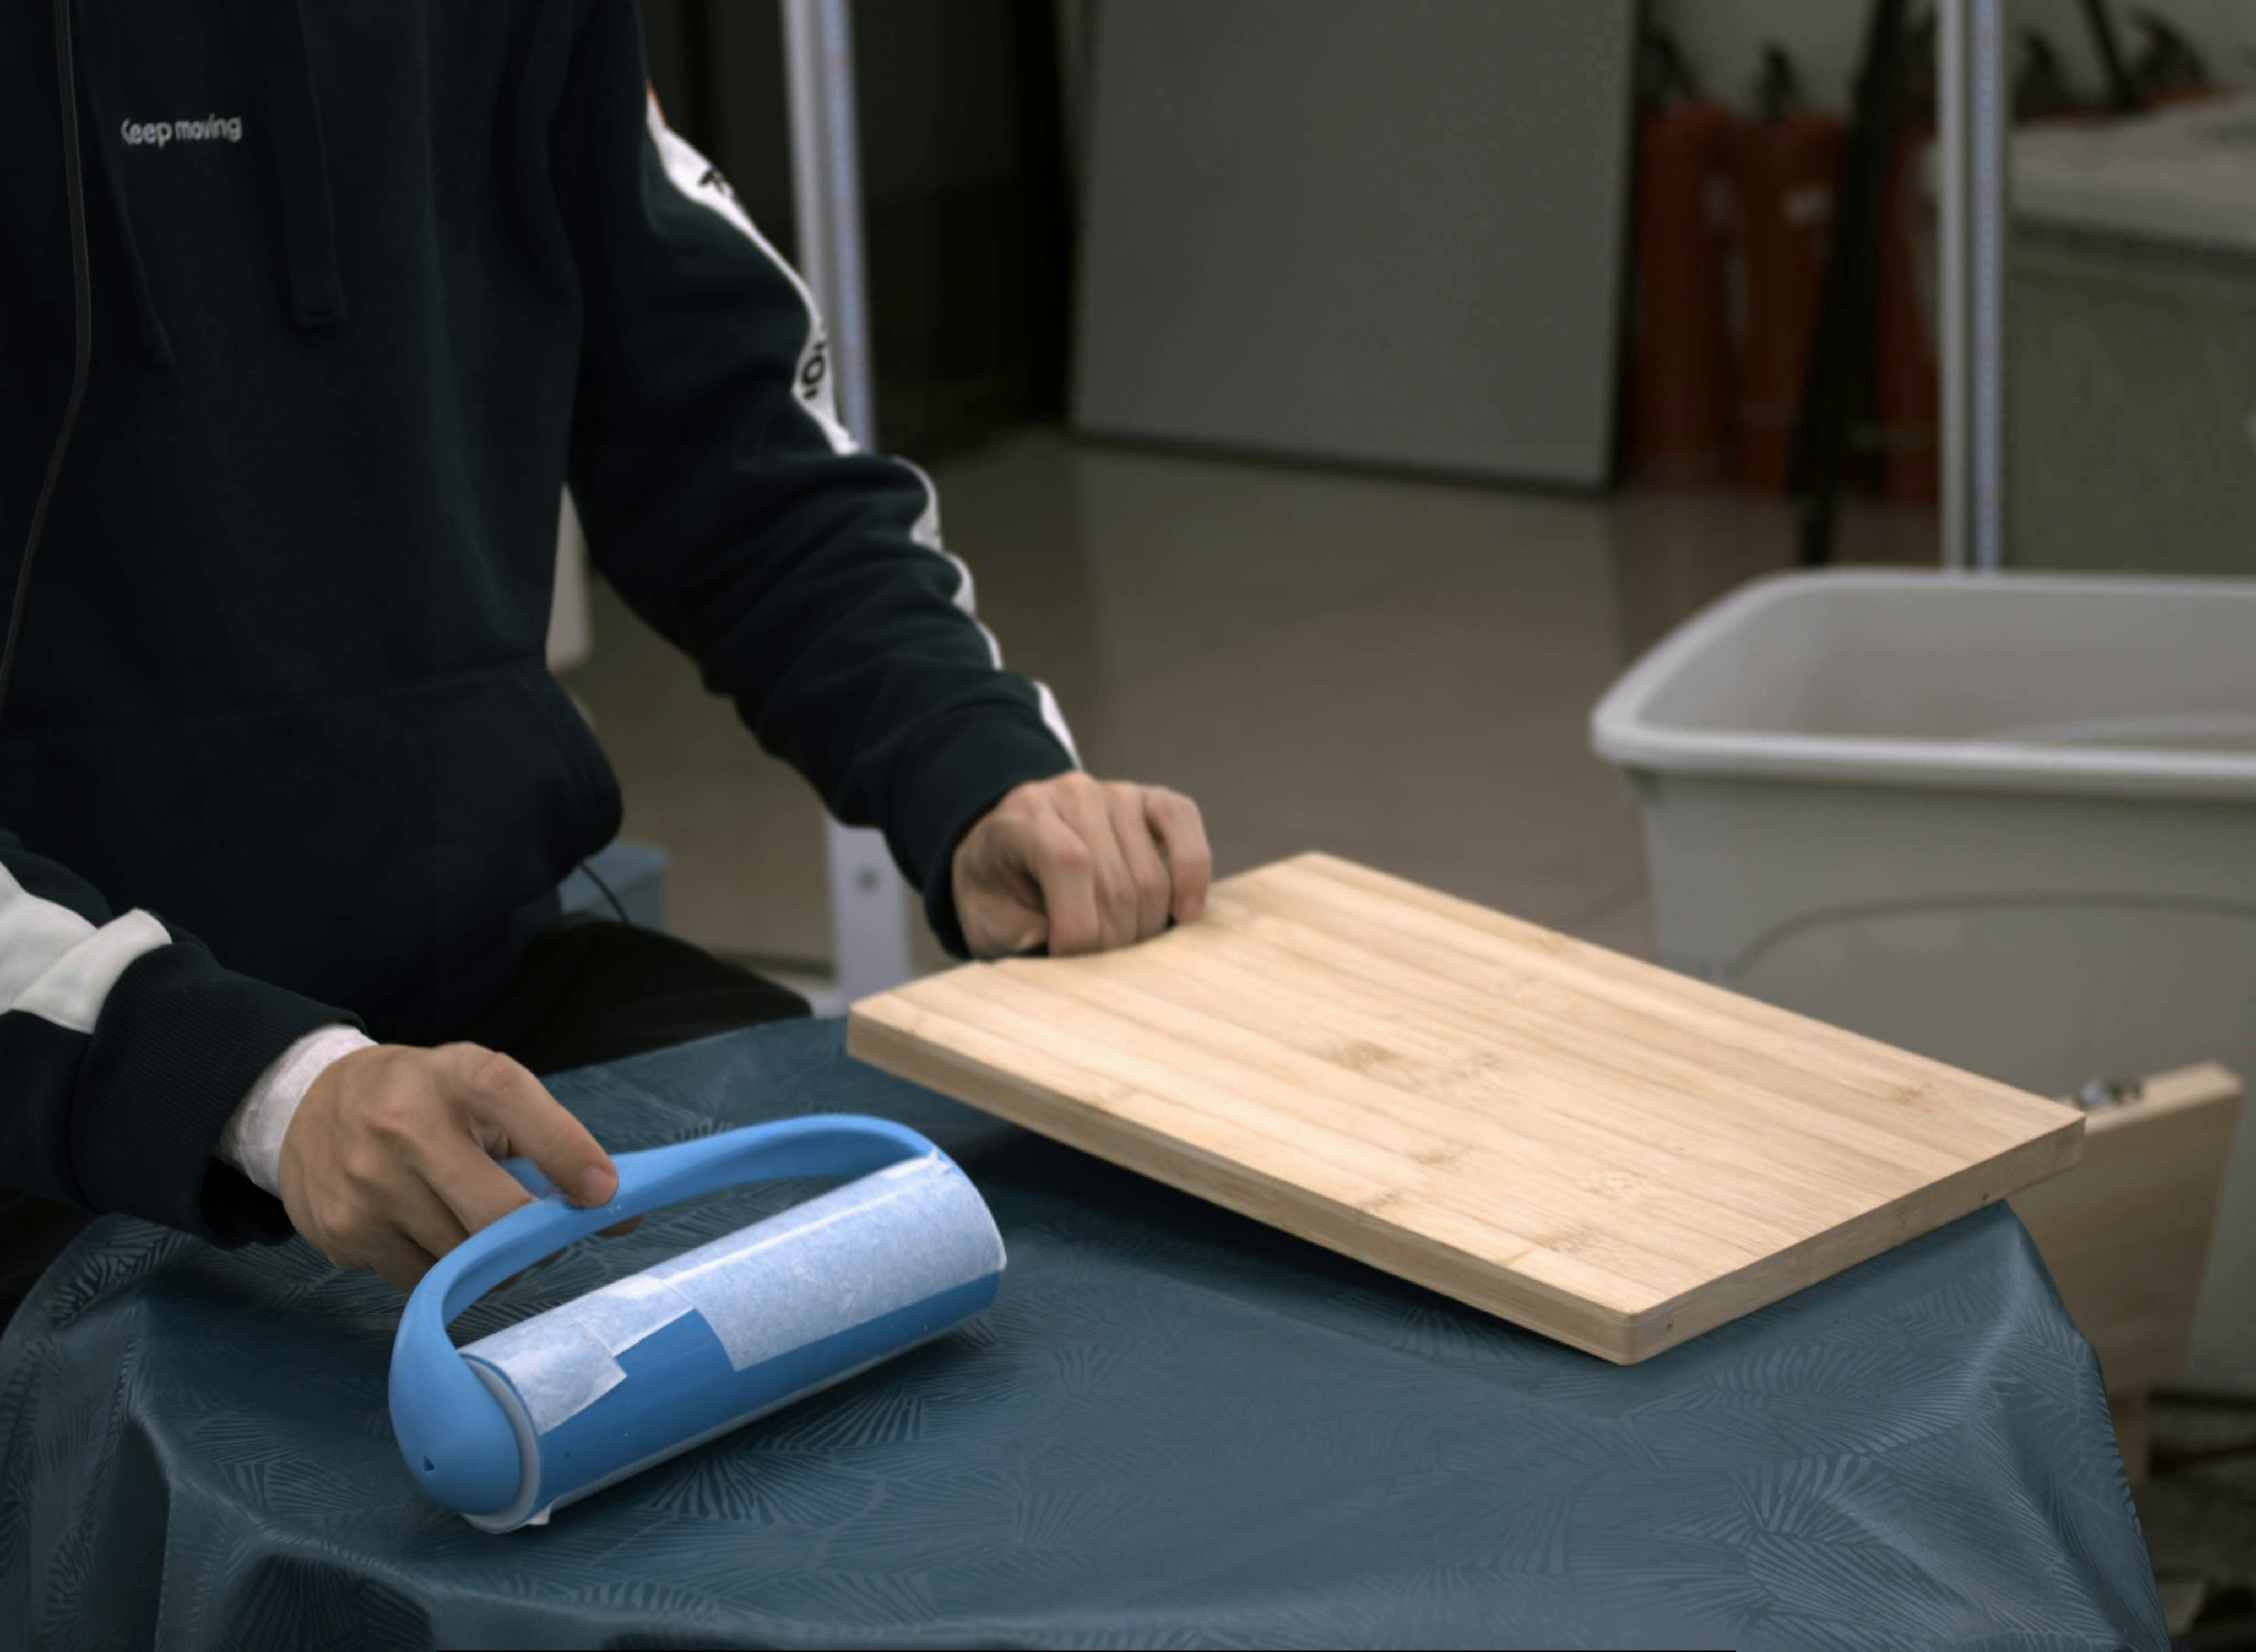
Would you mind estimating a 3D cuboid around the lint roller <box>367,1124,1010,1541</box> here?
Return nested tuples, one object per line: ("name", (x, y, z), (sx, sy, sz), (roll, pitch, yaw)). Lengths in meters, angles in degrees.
("lint roller", (-0.163, 0.134, 1.606), (0.181, 0.068, 0.225), (18, 27, 36))

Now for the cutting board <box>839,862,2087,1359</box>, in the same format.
("cutting board", (0.106, 0.087, 1.771), (0.352, 0.024, 0.245), (17, 24, 41))
